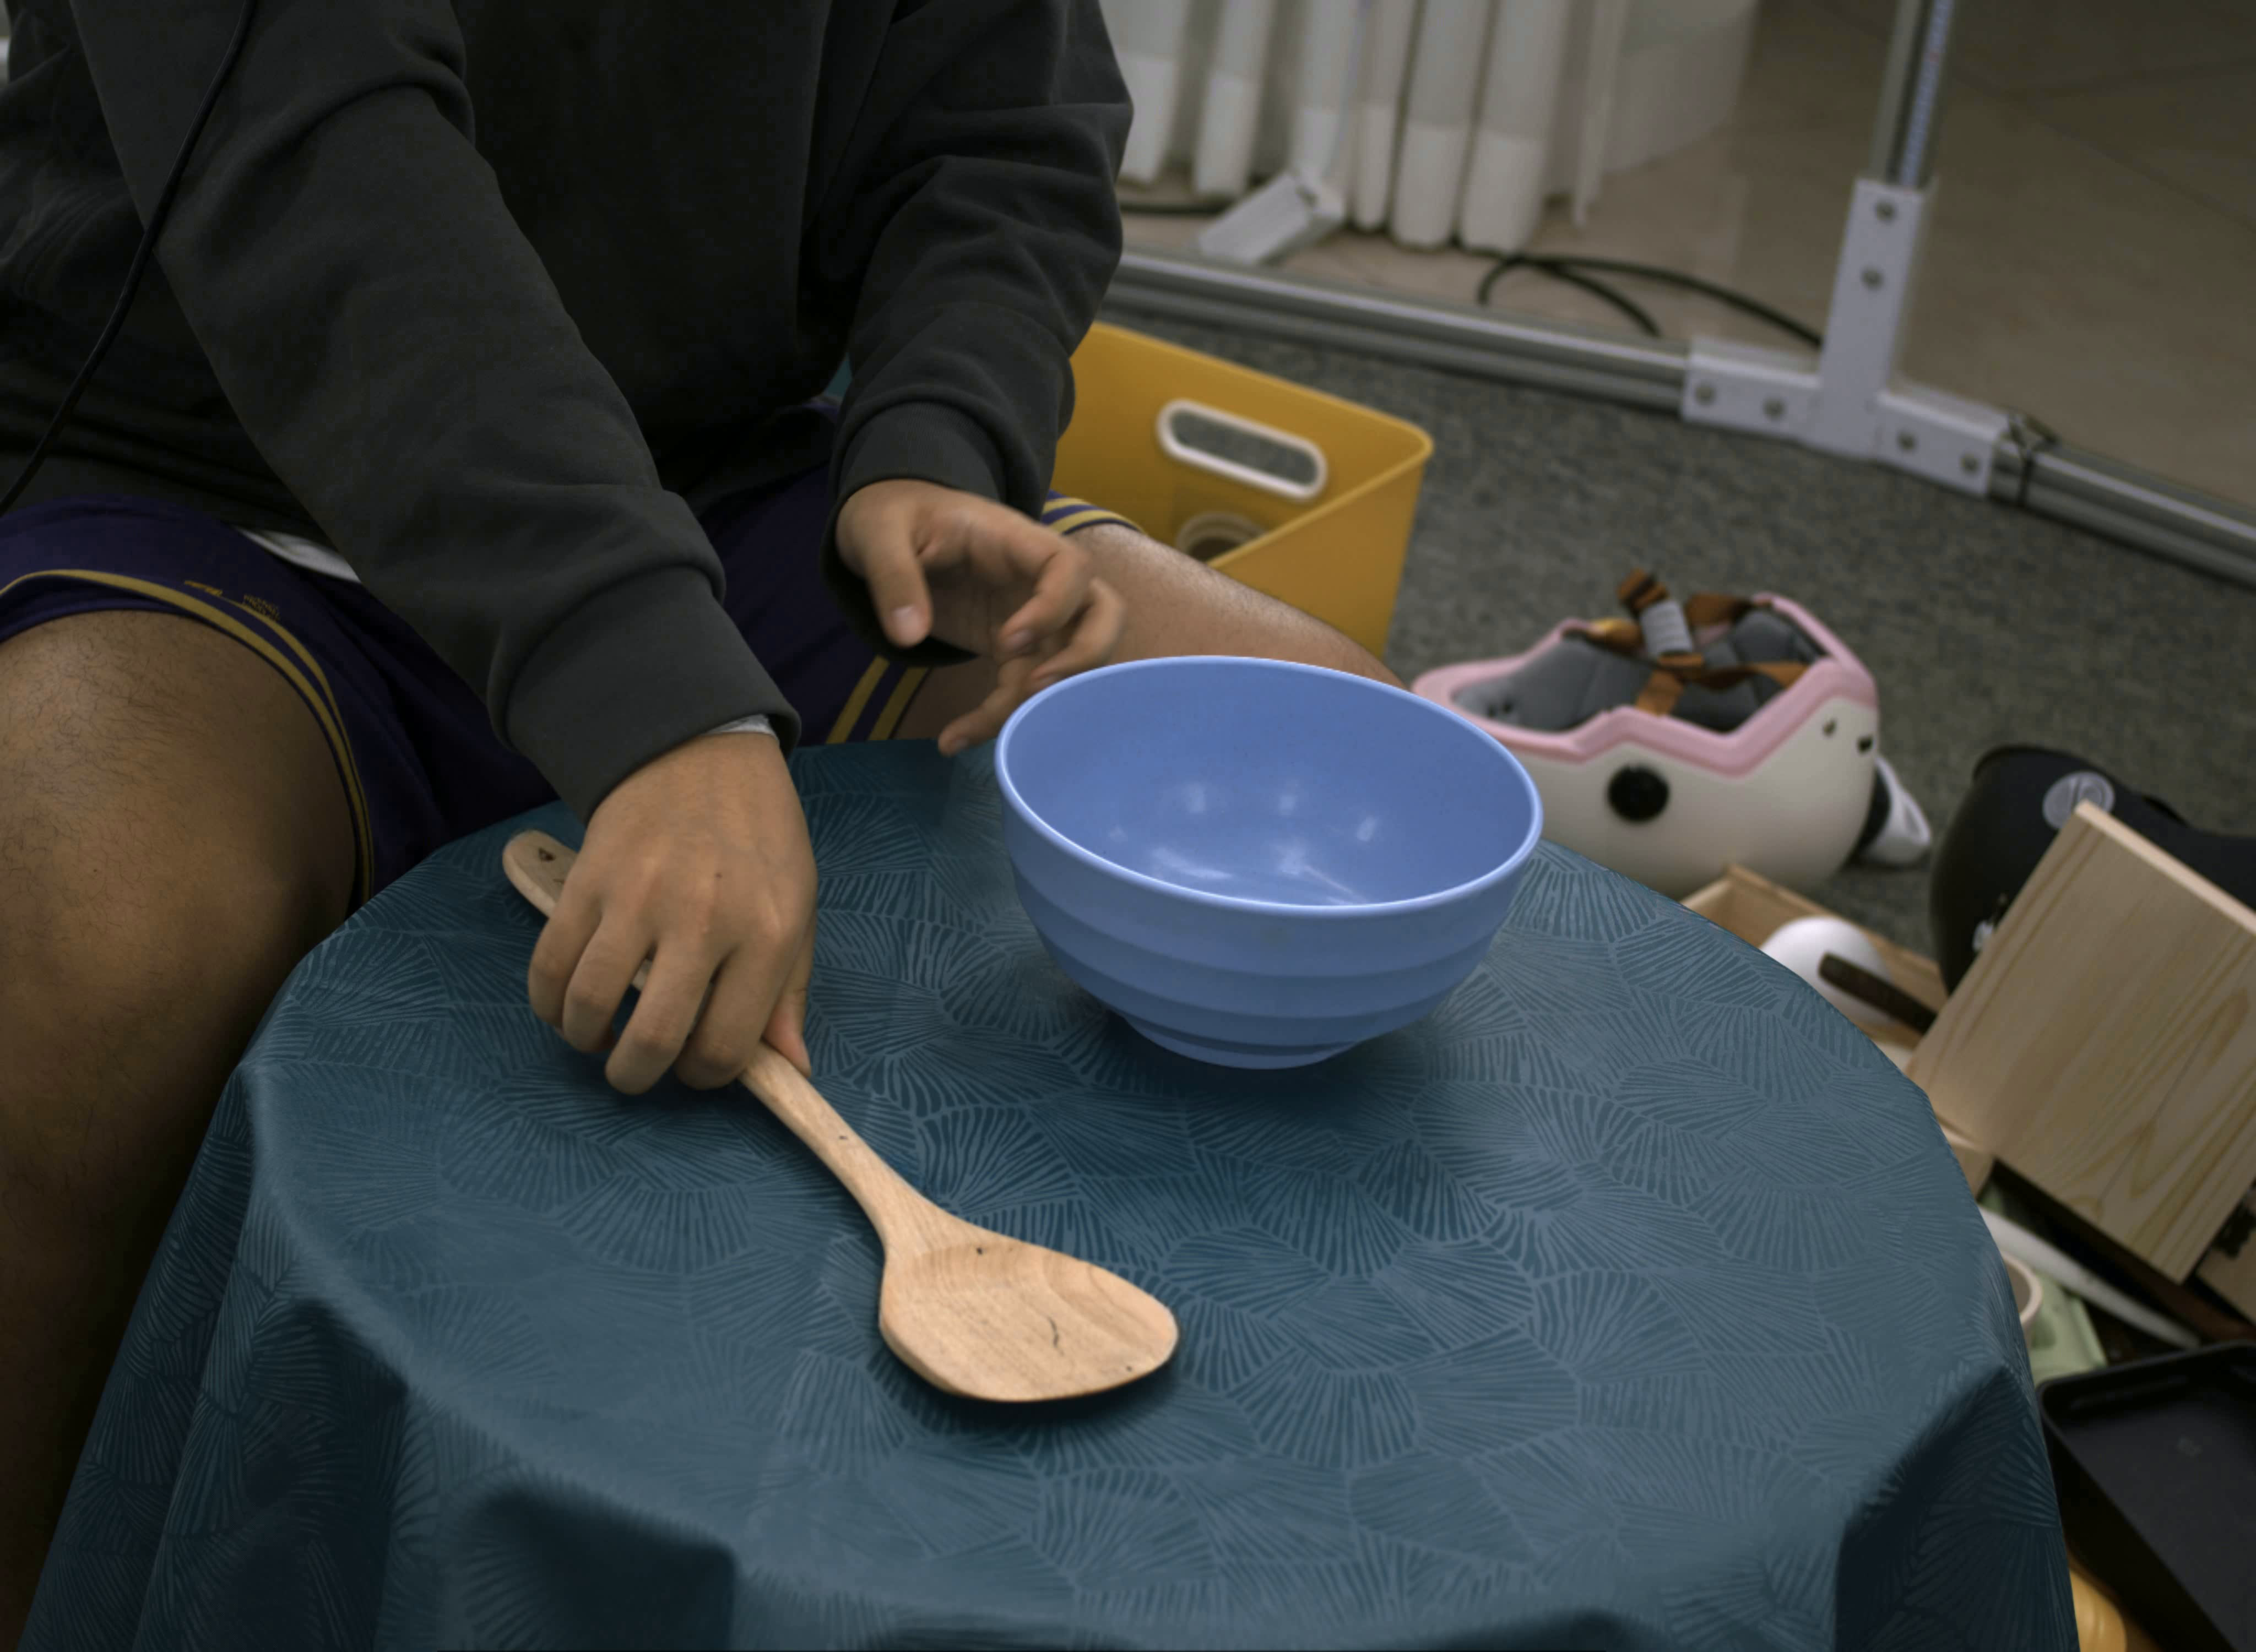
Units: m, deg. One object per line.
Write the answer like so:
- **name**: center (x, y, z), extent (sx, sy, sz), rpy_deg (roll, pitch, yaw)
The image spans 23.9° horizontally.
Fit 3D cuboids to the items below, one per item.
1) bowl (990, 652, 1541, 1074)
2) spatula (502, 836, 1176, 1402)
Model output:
- **bowl**: center (0.045, 0.025, 1.905), extent (0.196, 0.095, 0.198), rpy_deg (4, 30, -3)
- **spatula**: center (-0.120, 0.093, 1.806), extent (0.095, 0.018, 0.394), rpy_deg (-8, 32, -34)
